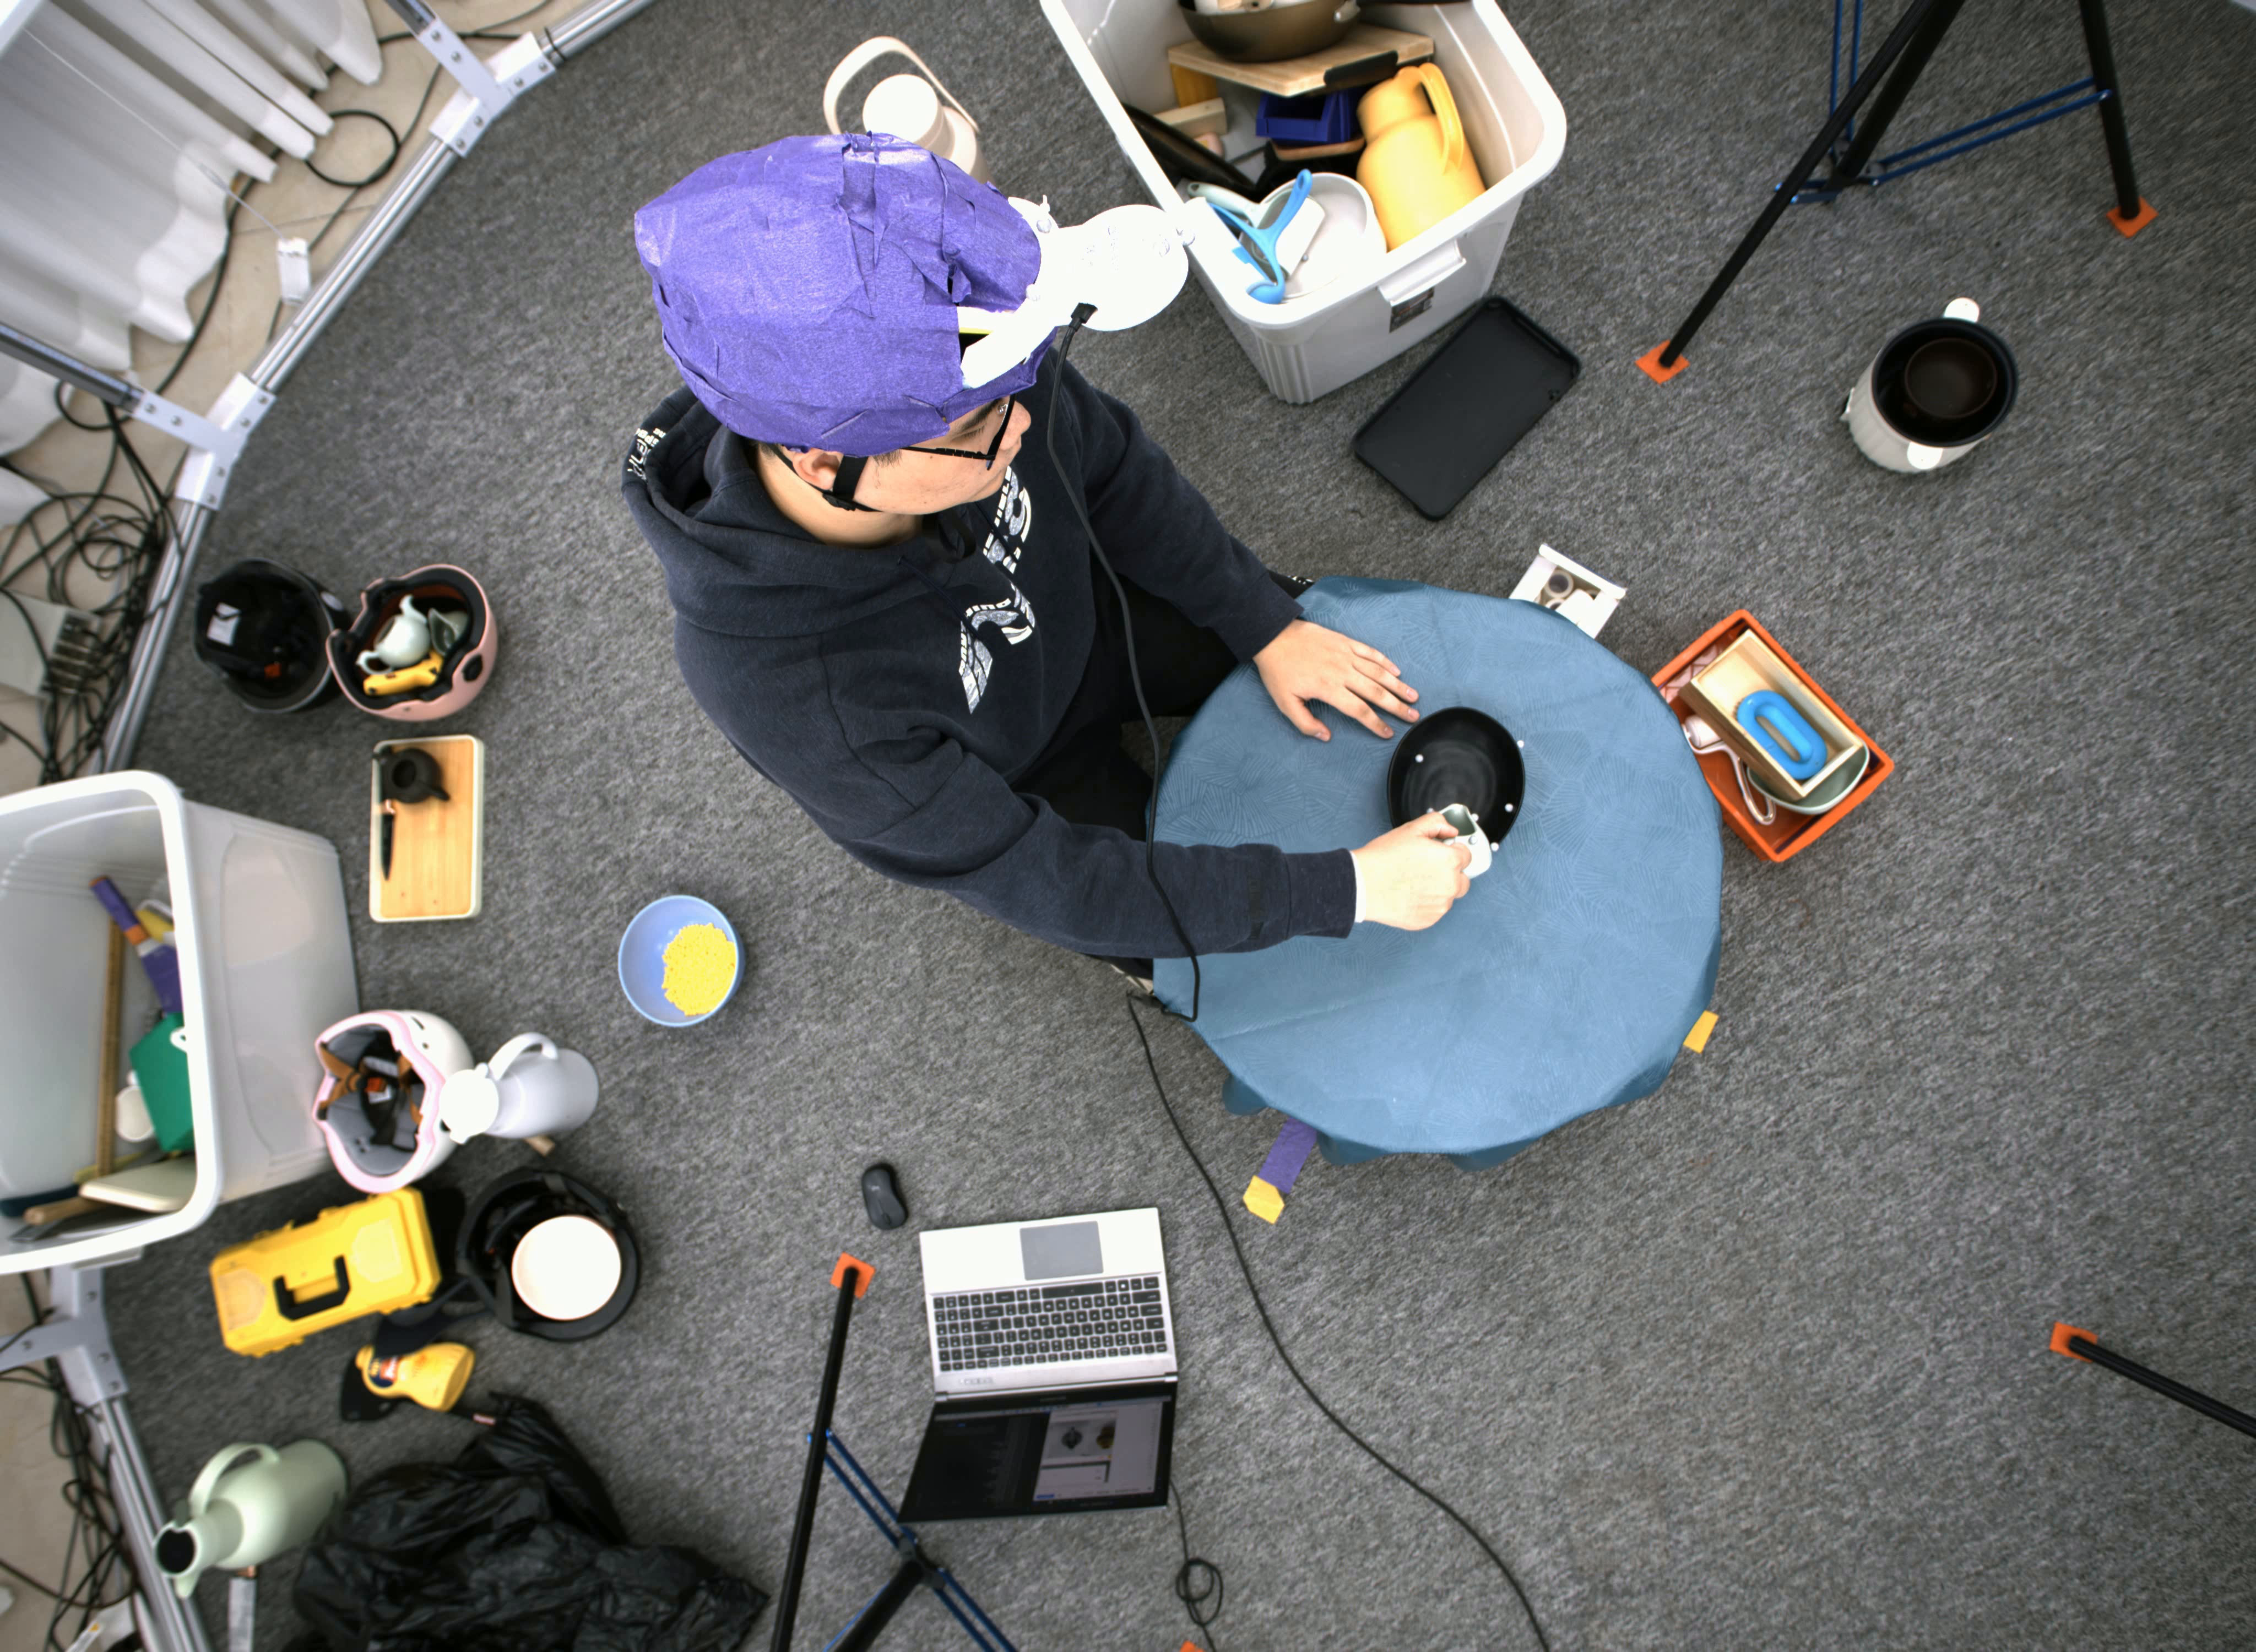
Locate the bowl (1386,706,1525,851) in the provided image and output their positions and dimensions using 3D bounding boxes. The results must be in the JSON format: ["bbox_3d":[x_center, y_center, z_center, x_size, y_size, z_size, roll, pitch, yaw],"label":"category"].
[{"bbox_3d":[0.337,-0.039,1.423,0.137,0.066,0.170,12,89,12],"label":"bowl"}]

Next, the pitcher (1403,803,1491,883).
[{"bbox_3d":[0.309,0.022,1.332,0.086,0.105,0.062,12,120,14],"label":"pitcher"}]
